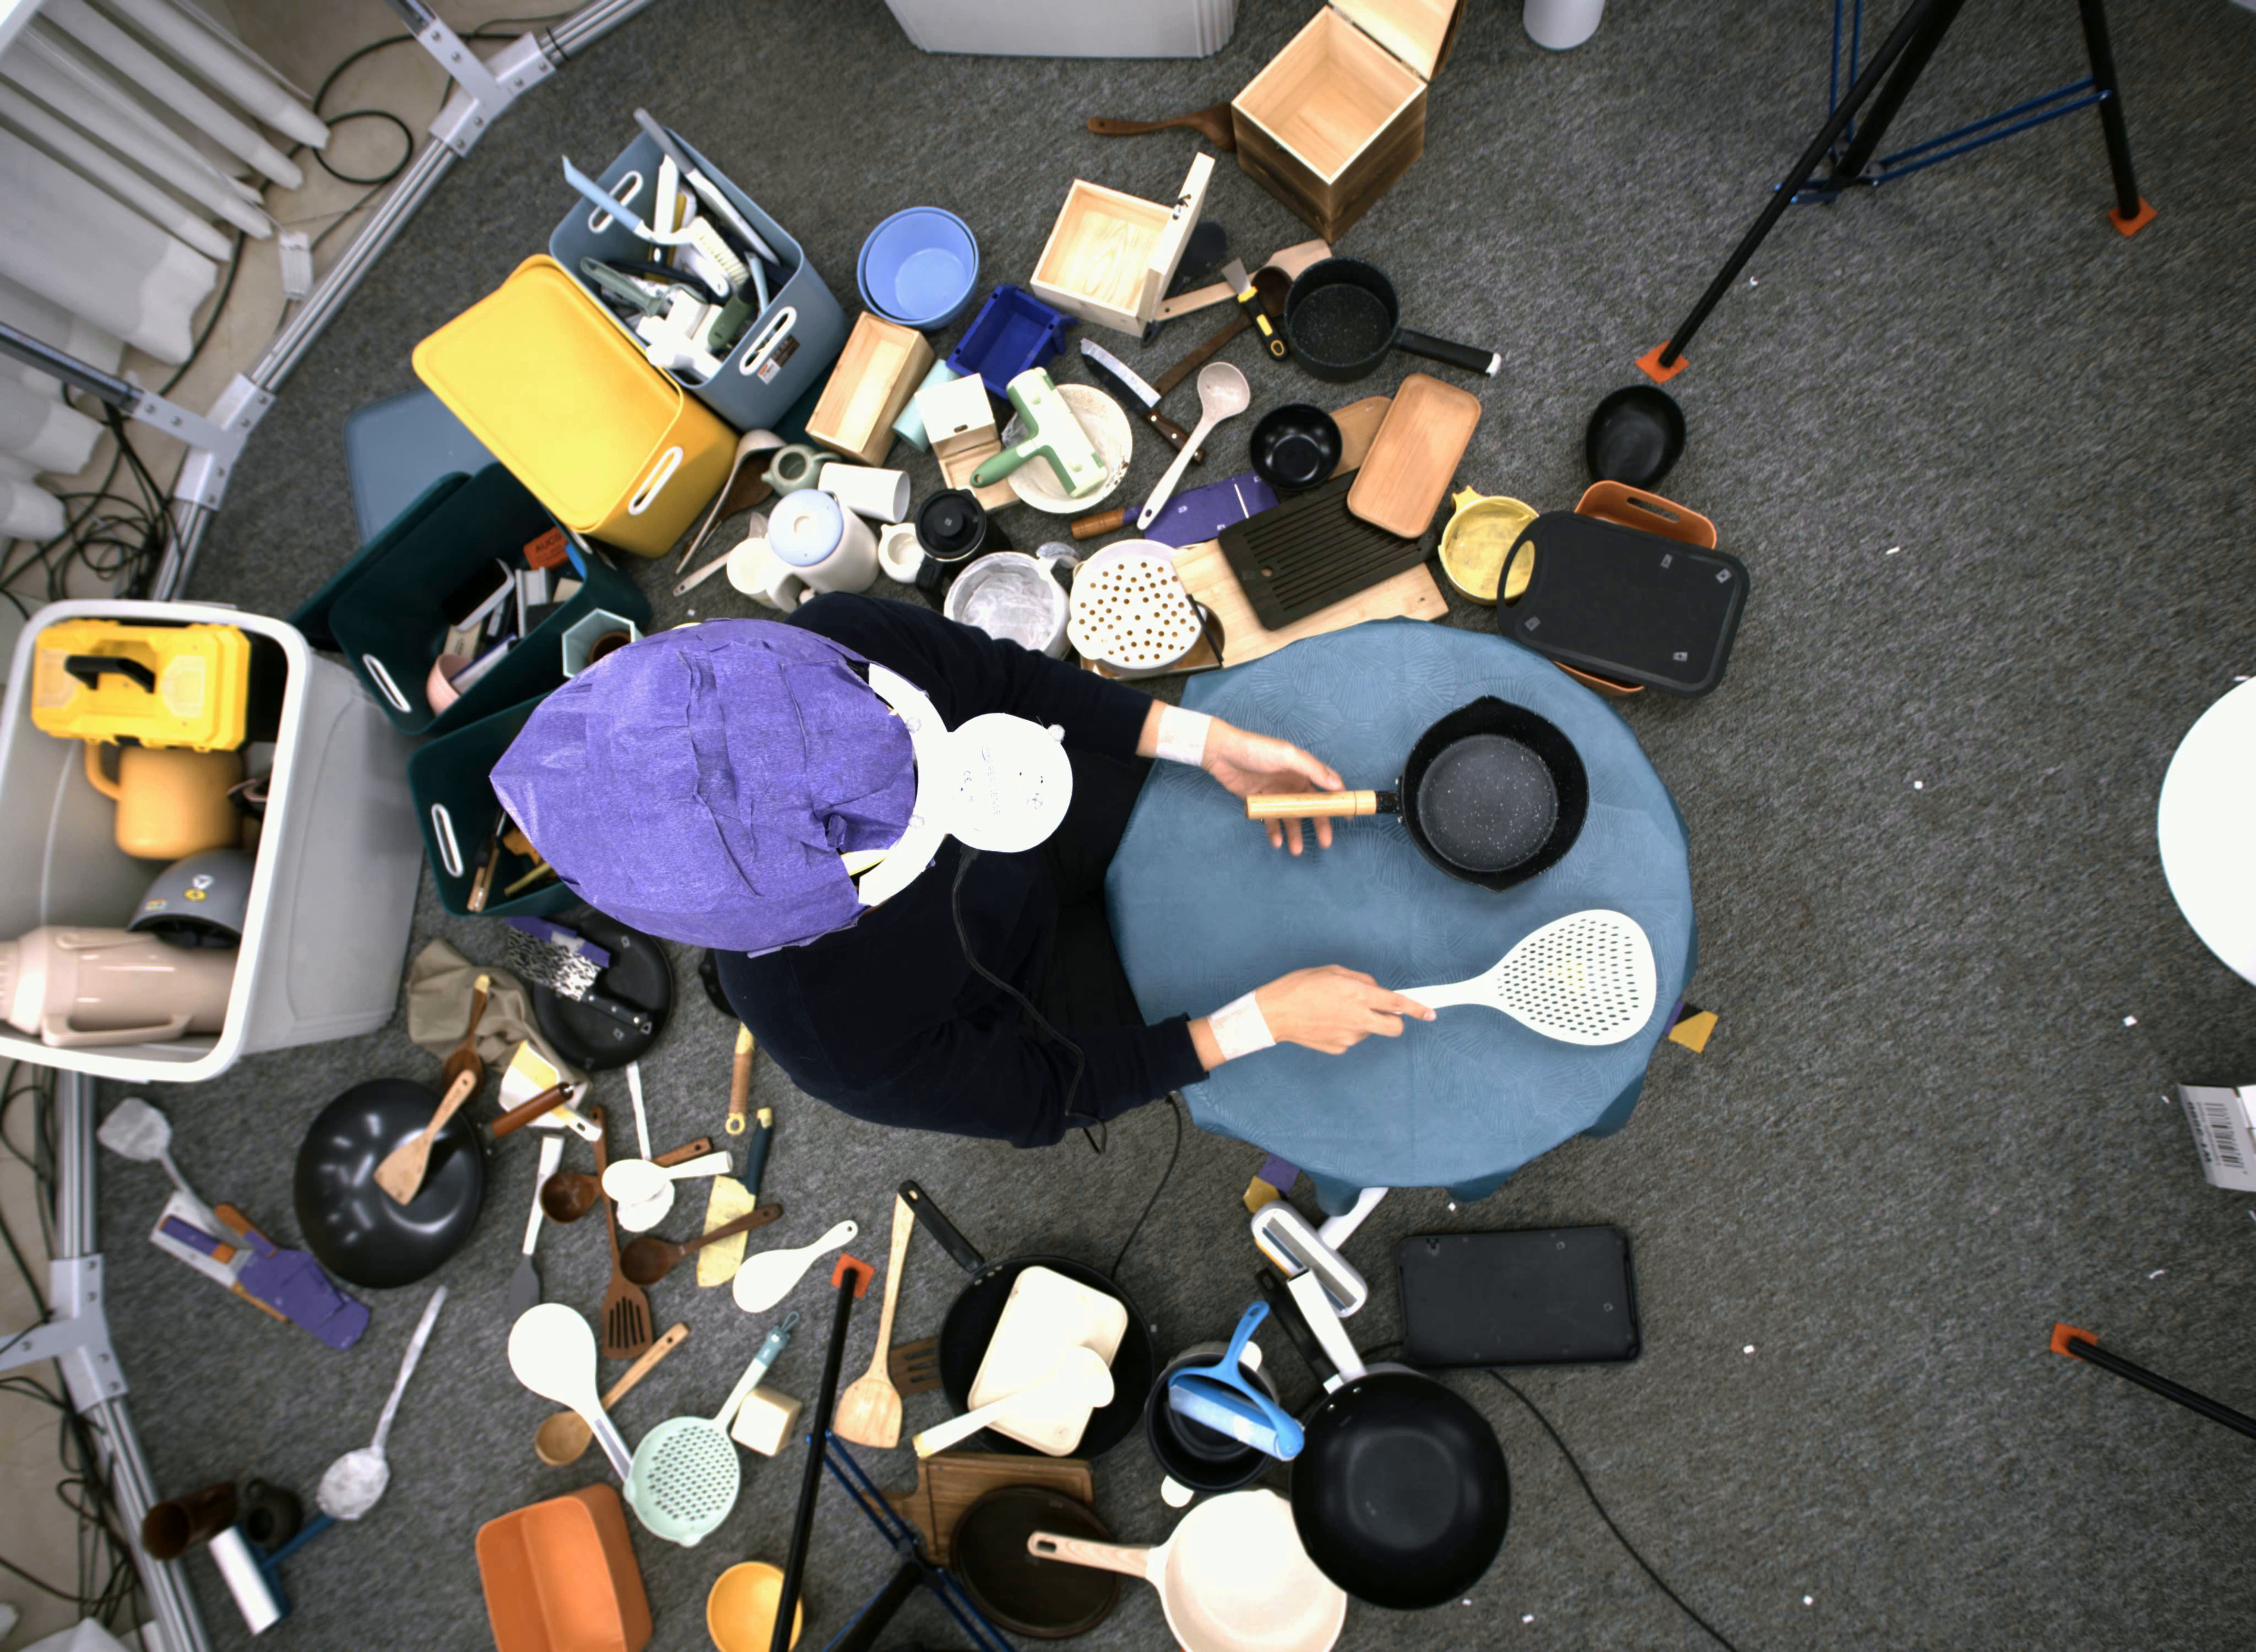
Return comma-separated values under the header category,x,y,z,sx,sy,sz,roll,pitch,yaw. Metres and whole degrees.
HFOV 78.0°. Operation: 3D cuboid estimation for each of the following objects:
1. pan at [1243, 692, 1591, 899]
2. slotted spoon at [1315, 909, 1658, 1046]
category,x,y,z,sx,sy,sz,roll,pitch,yaw
pan,0.291,-0.024,1.407,0.344,0.108,0.206,-5,86,9
slotted spoon,0.361,0.164,1.387,0.347,0.050,0.137,-8,92,-6
